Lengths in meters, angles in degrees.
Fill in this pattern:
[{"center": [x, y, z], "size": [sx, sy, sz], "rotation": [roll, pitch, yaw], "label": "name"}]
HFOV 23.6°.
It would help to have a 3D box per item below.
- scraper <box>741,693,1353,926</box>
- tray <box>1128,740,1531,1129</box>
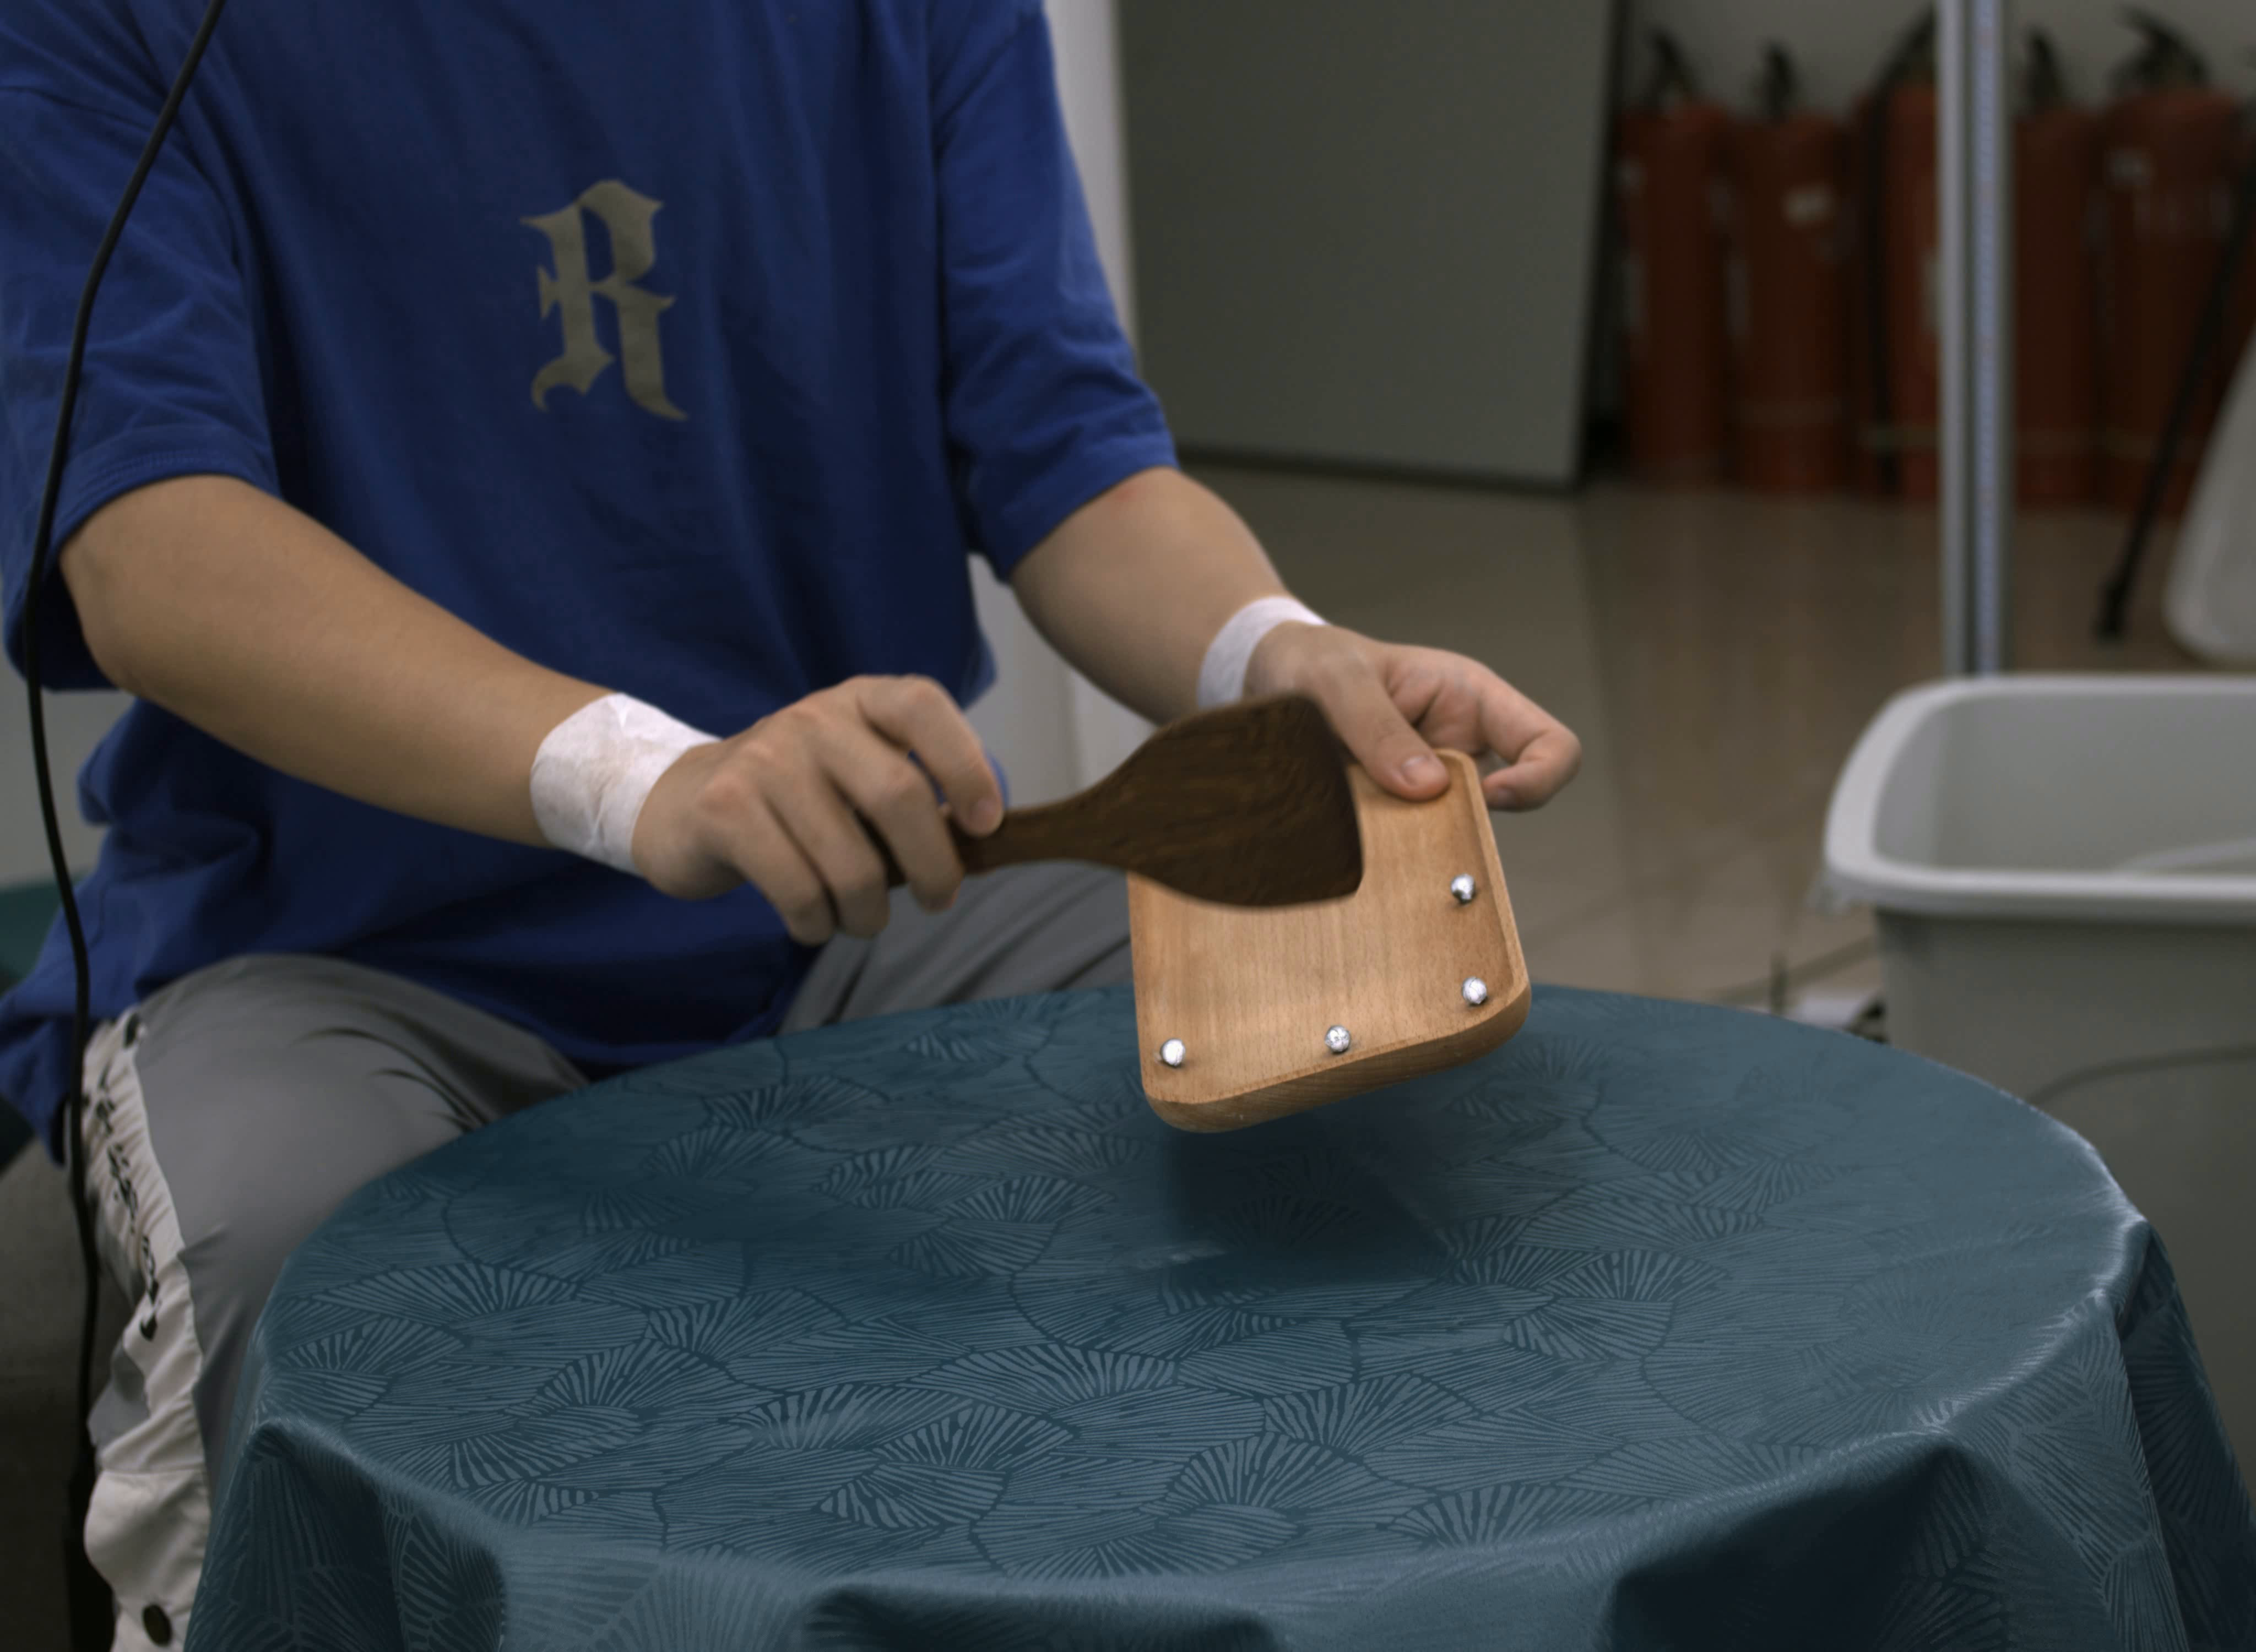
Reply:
[{"center": [-0.030, 0.005, 1.719], "size": [0.211, 0.076, 0.011], "rotation": [-8, 21, 26], "label": "scraper"}, {"center": [0.064, 0.033, 1.774], "size": [0.129, 0.023, 0.251], "rotation": [-14, 20, 5], "label": "tray"}]
